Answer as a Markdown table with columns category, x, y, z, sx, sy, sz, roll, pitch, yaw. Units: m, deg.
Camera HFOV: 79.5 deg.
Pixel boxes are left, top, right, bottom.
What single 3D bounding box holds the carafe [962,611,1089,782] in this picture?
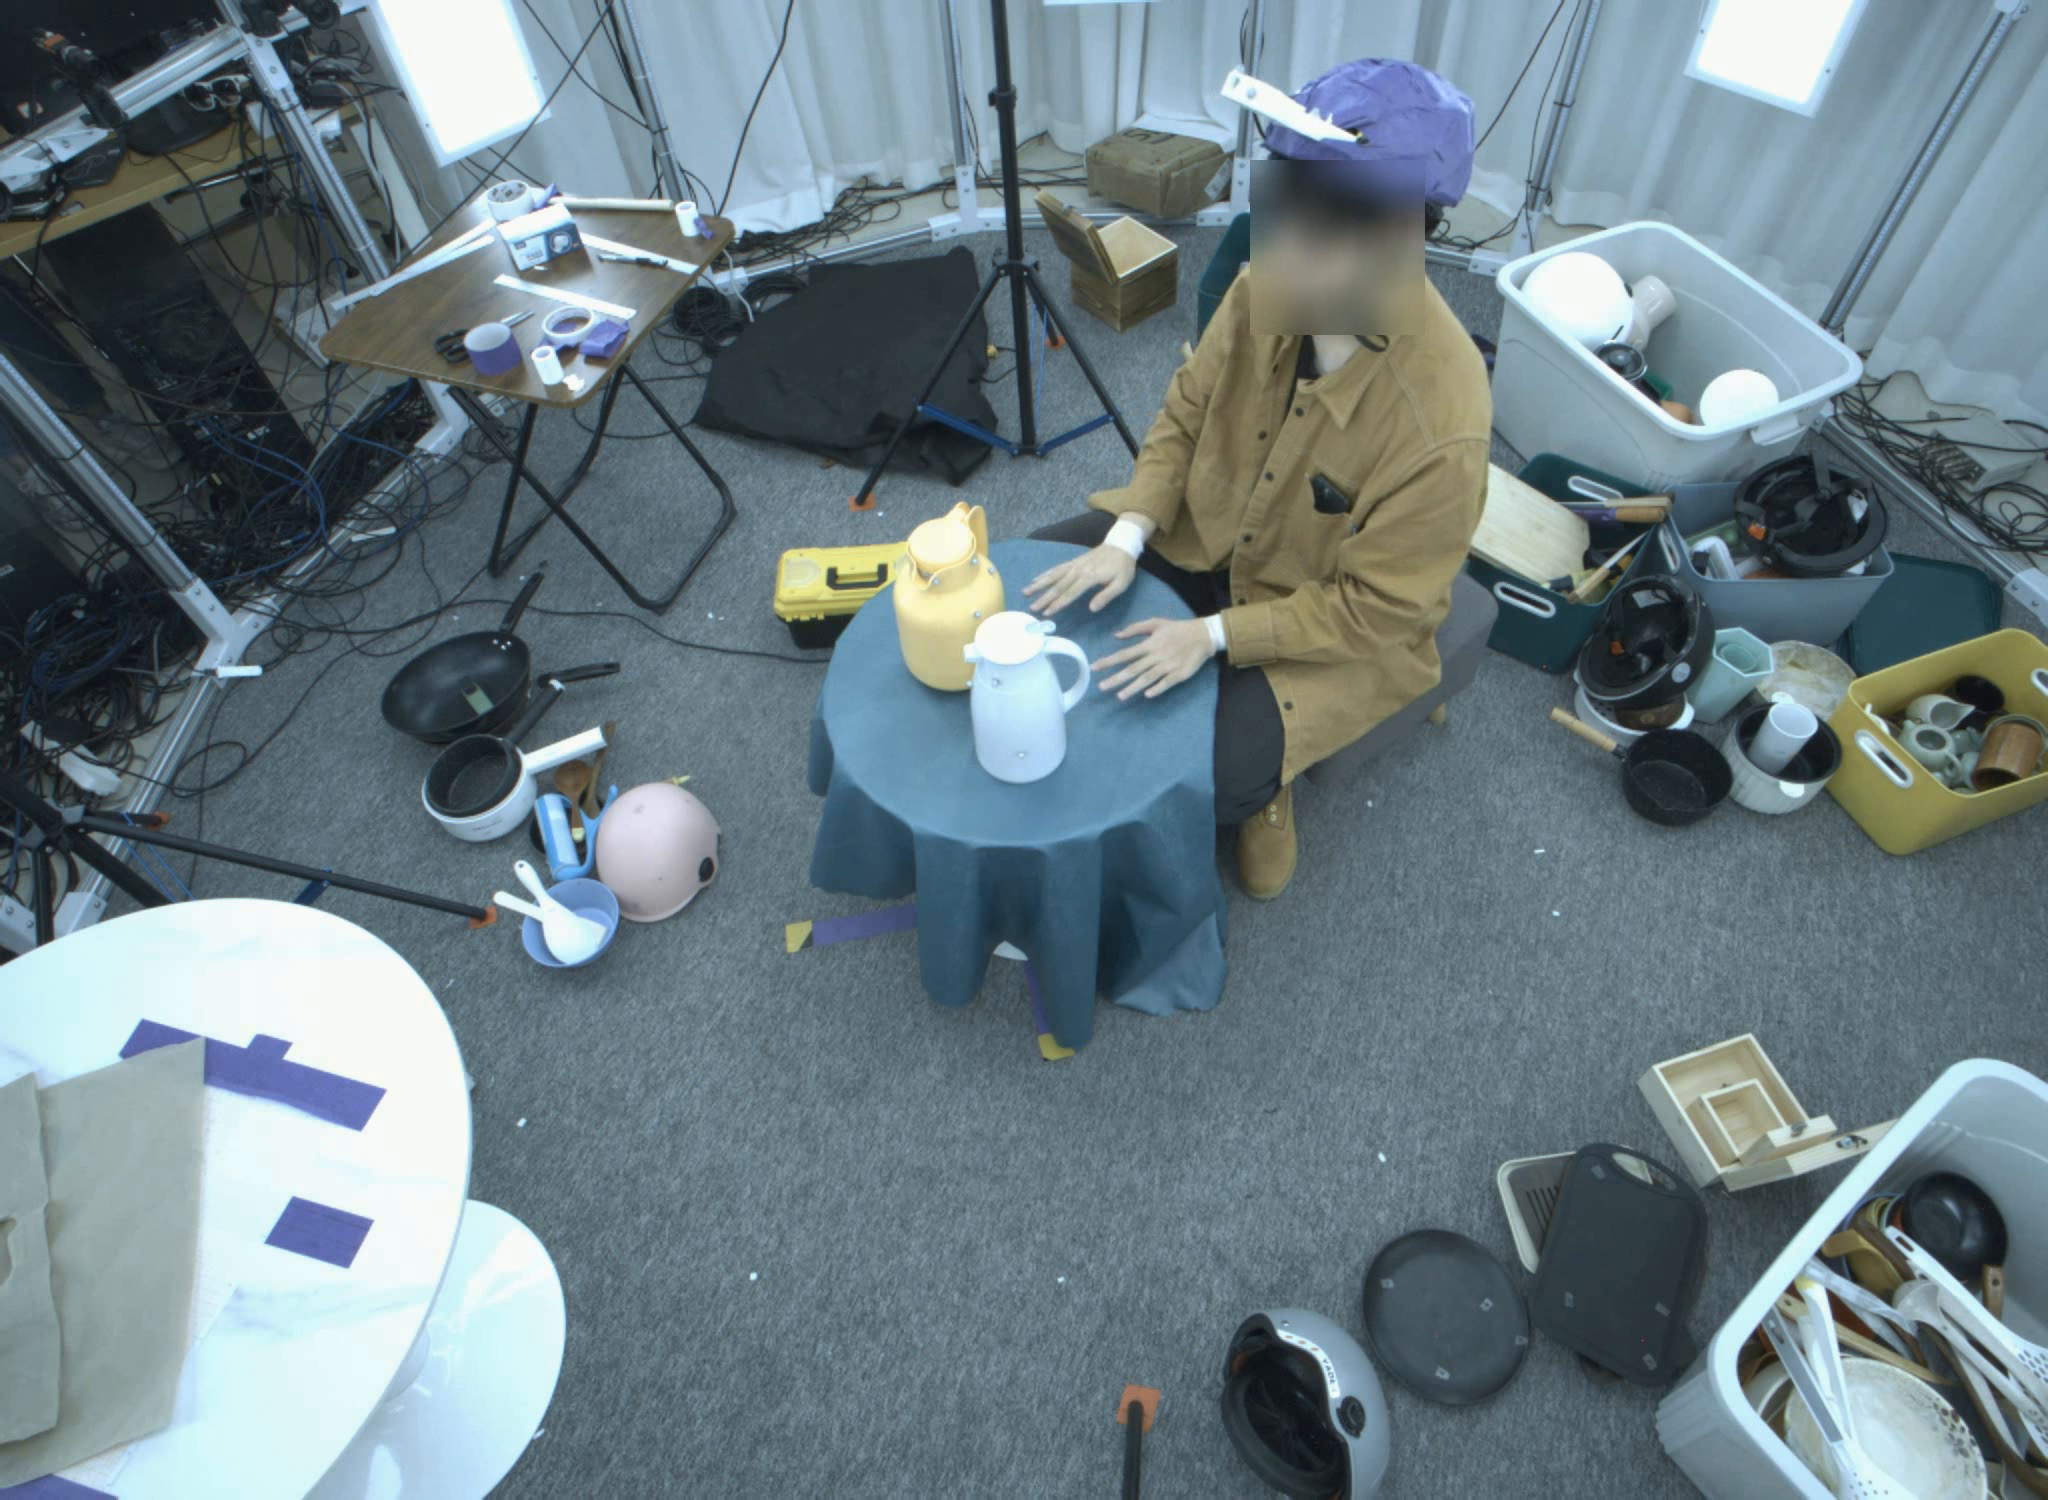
| category | x | y | z | sx | sy | sz | roll | pitch | yaw |
| --- | --- | --- | --- | --- | --- | --- | --- | --- | --- |
| carafe | 0.006 | -0.082 | 1.688 | 0.168 | 0.251 | 0.130 | -10 | 54 | -4 |

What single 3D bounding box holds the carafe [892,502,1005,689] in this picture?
| category | x | y | z | sx | sy | sz | roll | pitch | yaw |
| --- | --- | --- | --- | --- | --- | --- | --- | --- | --- |
| carafe | -0.102 | -0.231 | 1.791 | 0.162 | 0.263 | 0.202 | 19 | 59 | 14 |
